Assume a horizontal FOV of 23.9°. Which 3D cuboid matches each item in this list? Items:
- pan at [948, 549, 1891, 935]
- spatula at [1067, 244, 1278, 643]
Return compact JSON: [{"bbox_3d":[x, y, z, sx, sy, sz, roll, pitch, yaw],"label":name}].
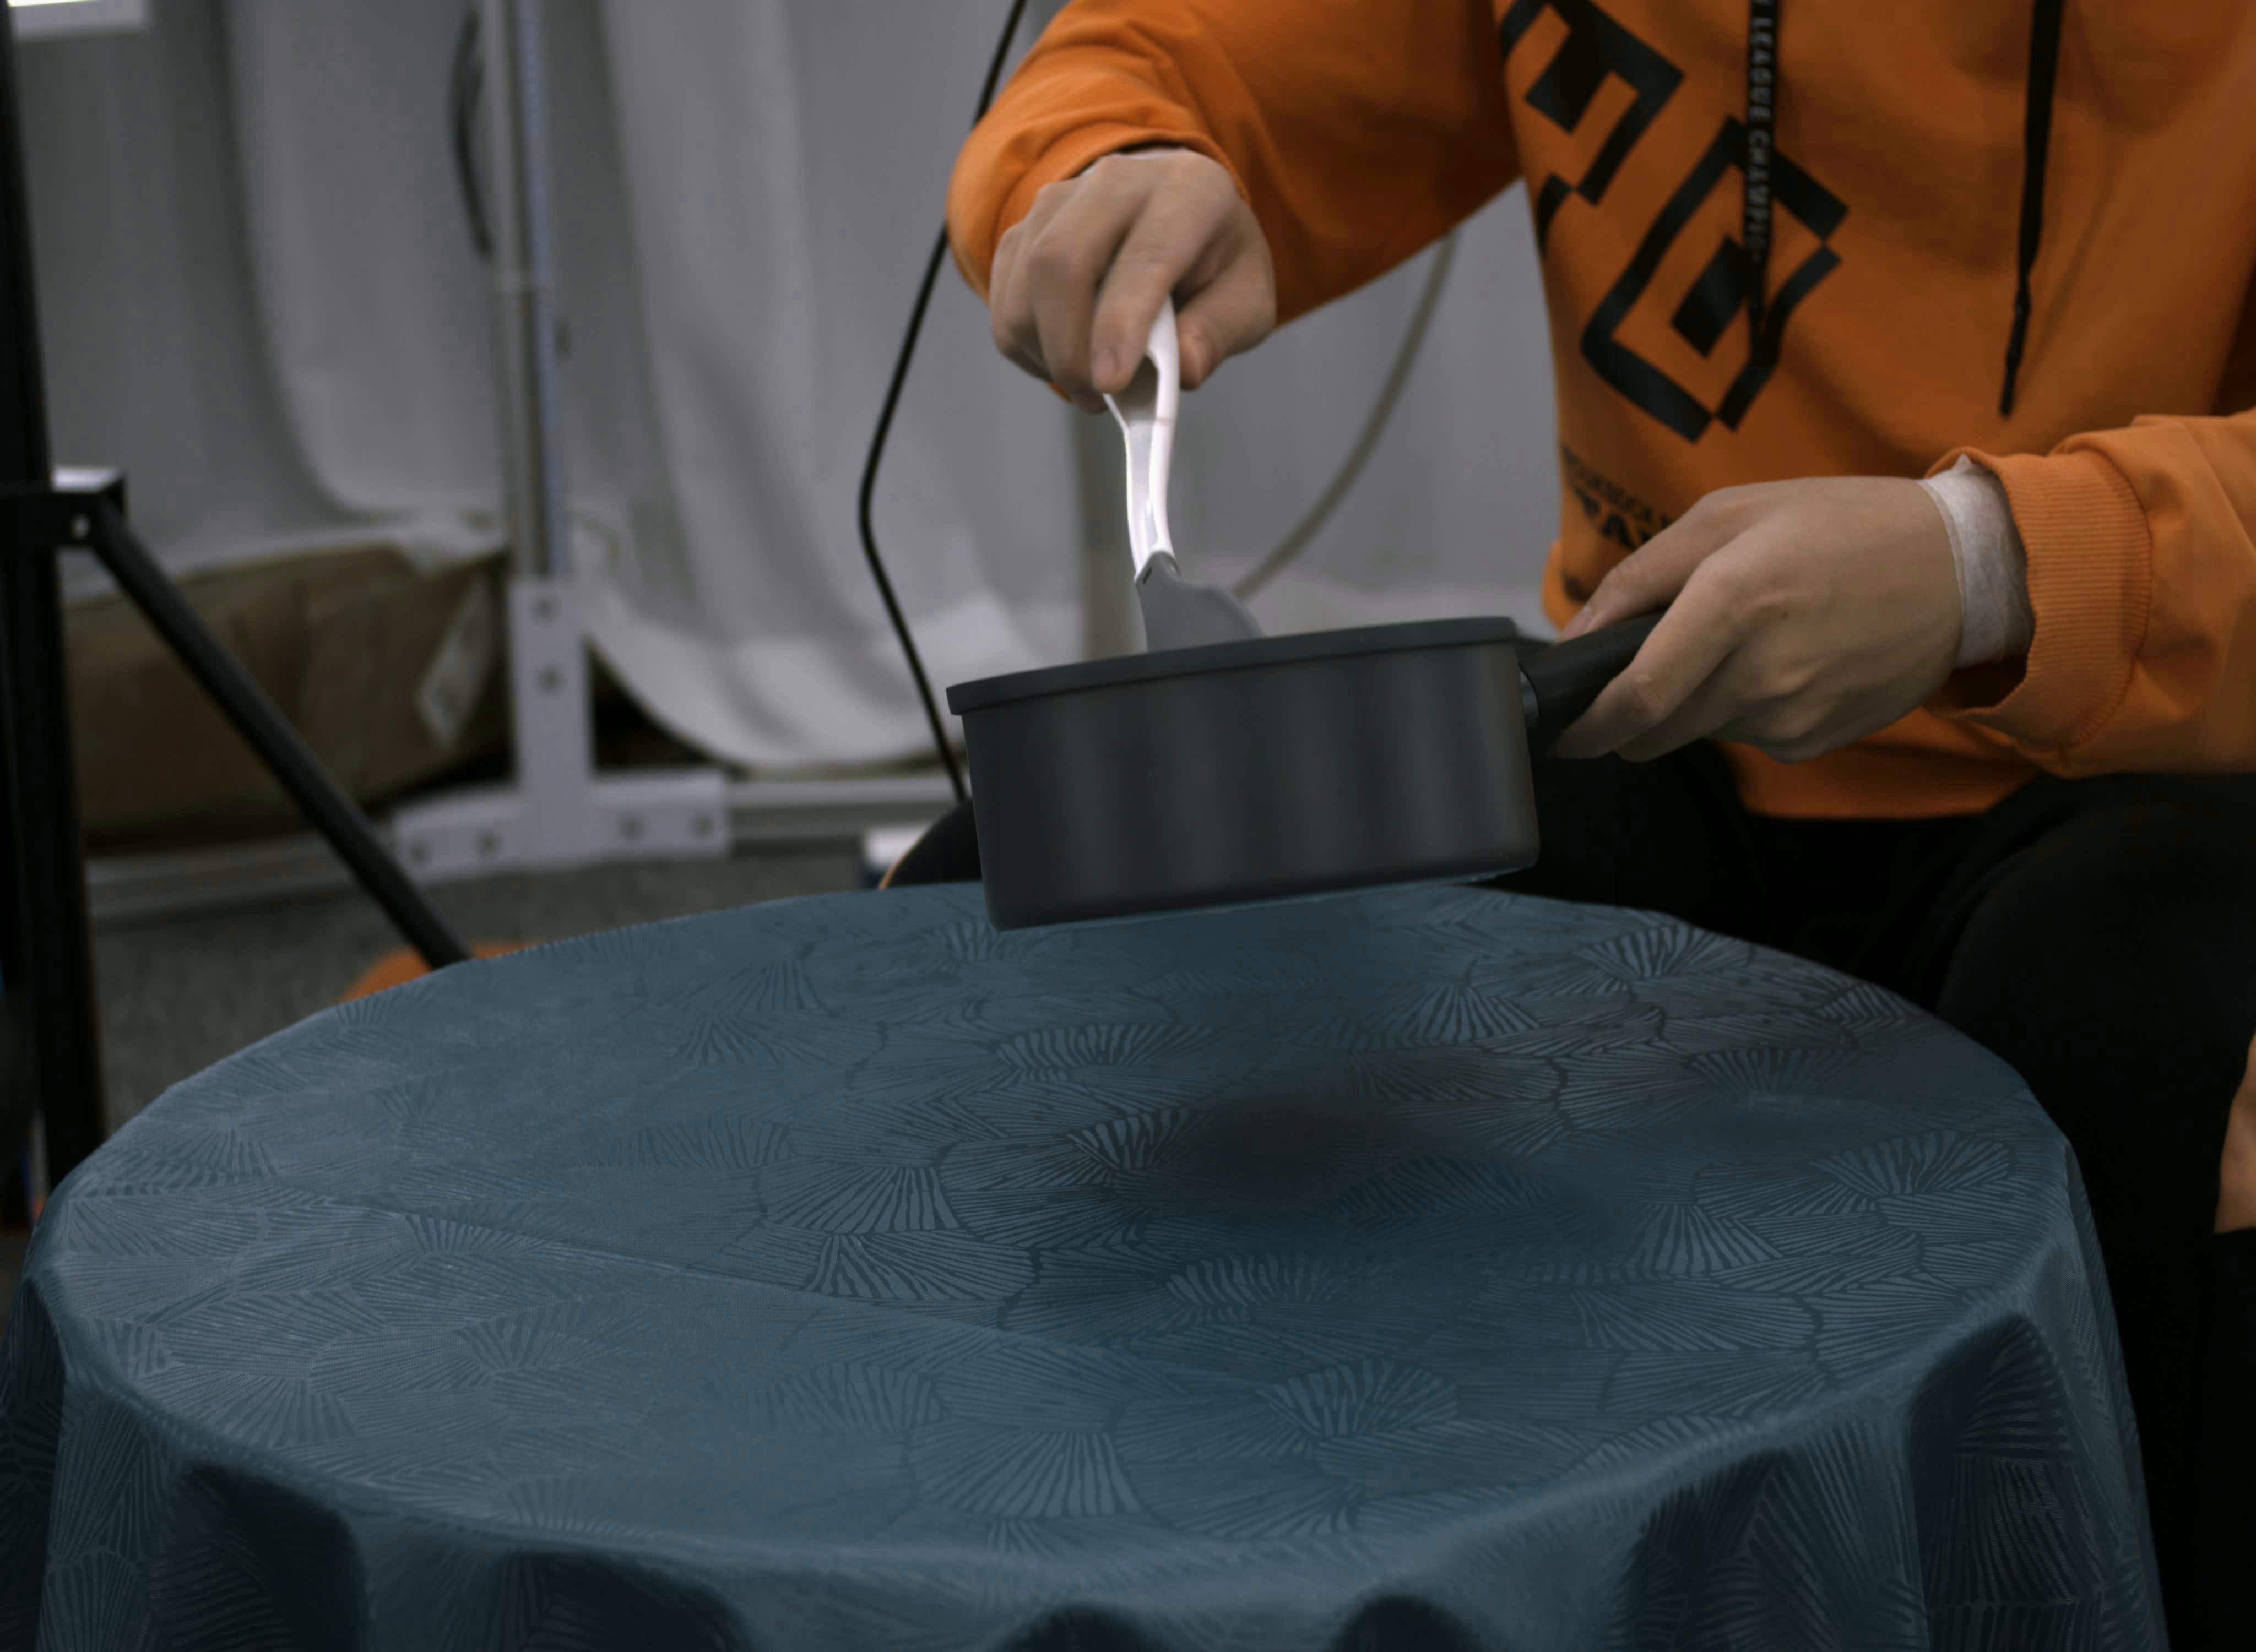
[{"bbox_3d":[0.101,-0.025,1.596,0.321,0.087,0.175,-8,0,-32],"label":"pan"},{"bbox_3d":[0.015,-0.092,1.616,0.031,0.059,0.291,26,27,-25],"label":"spatula"}]
